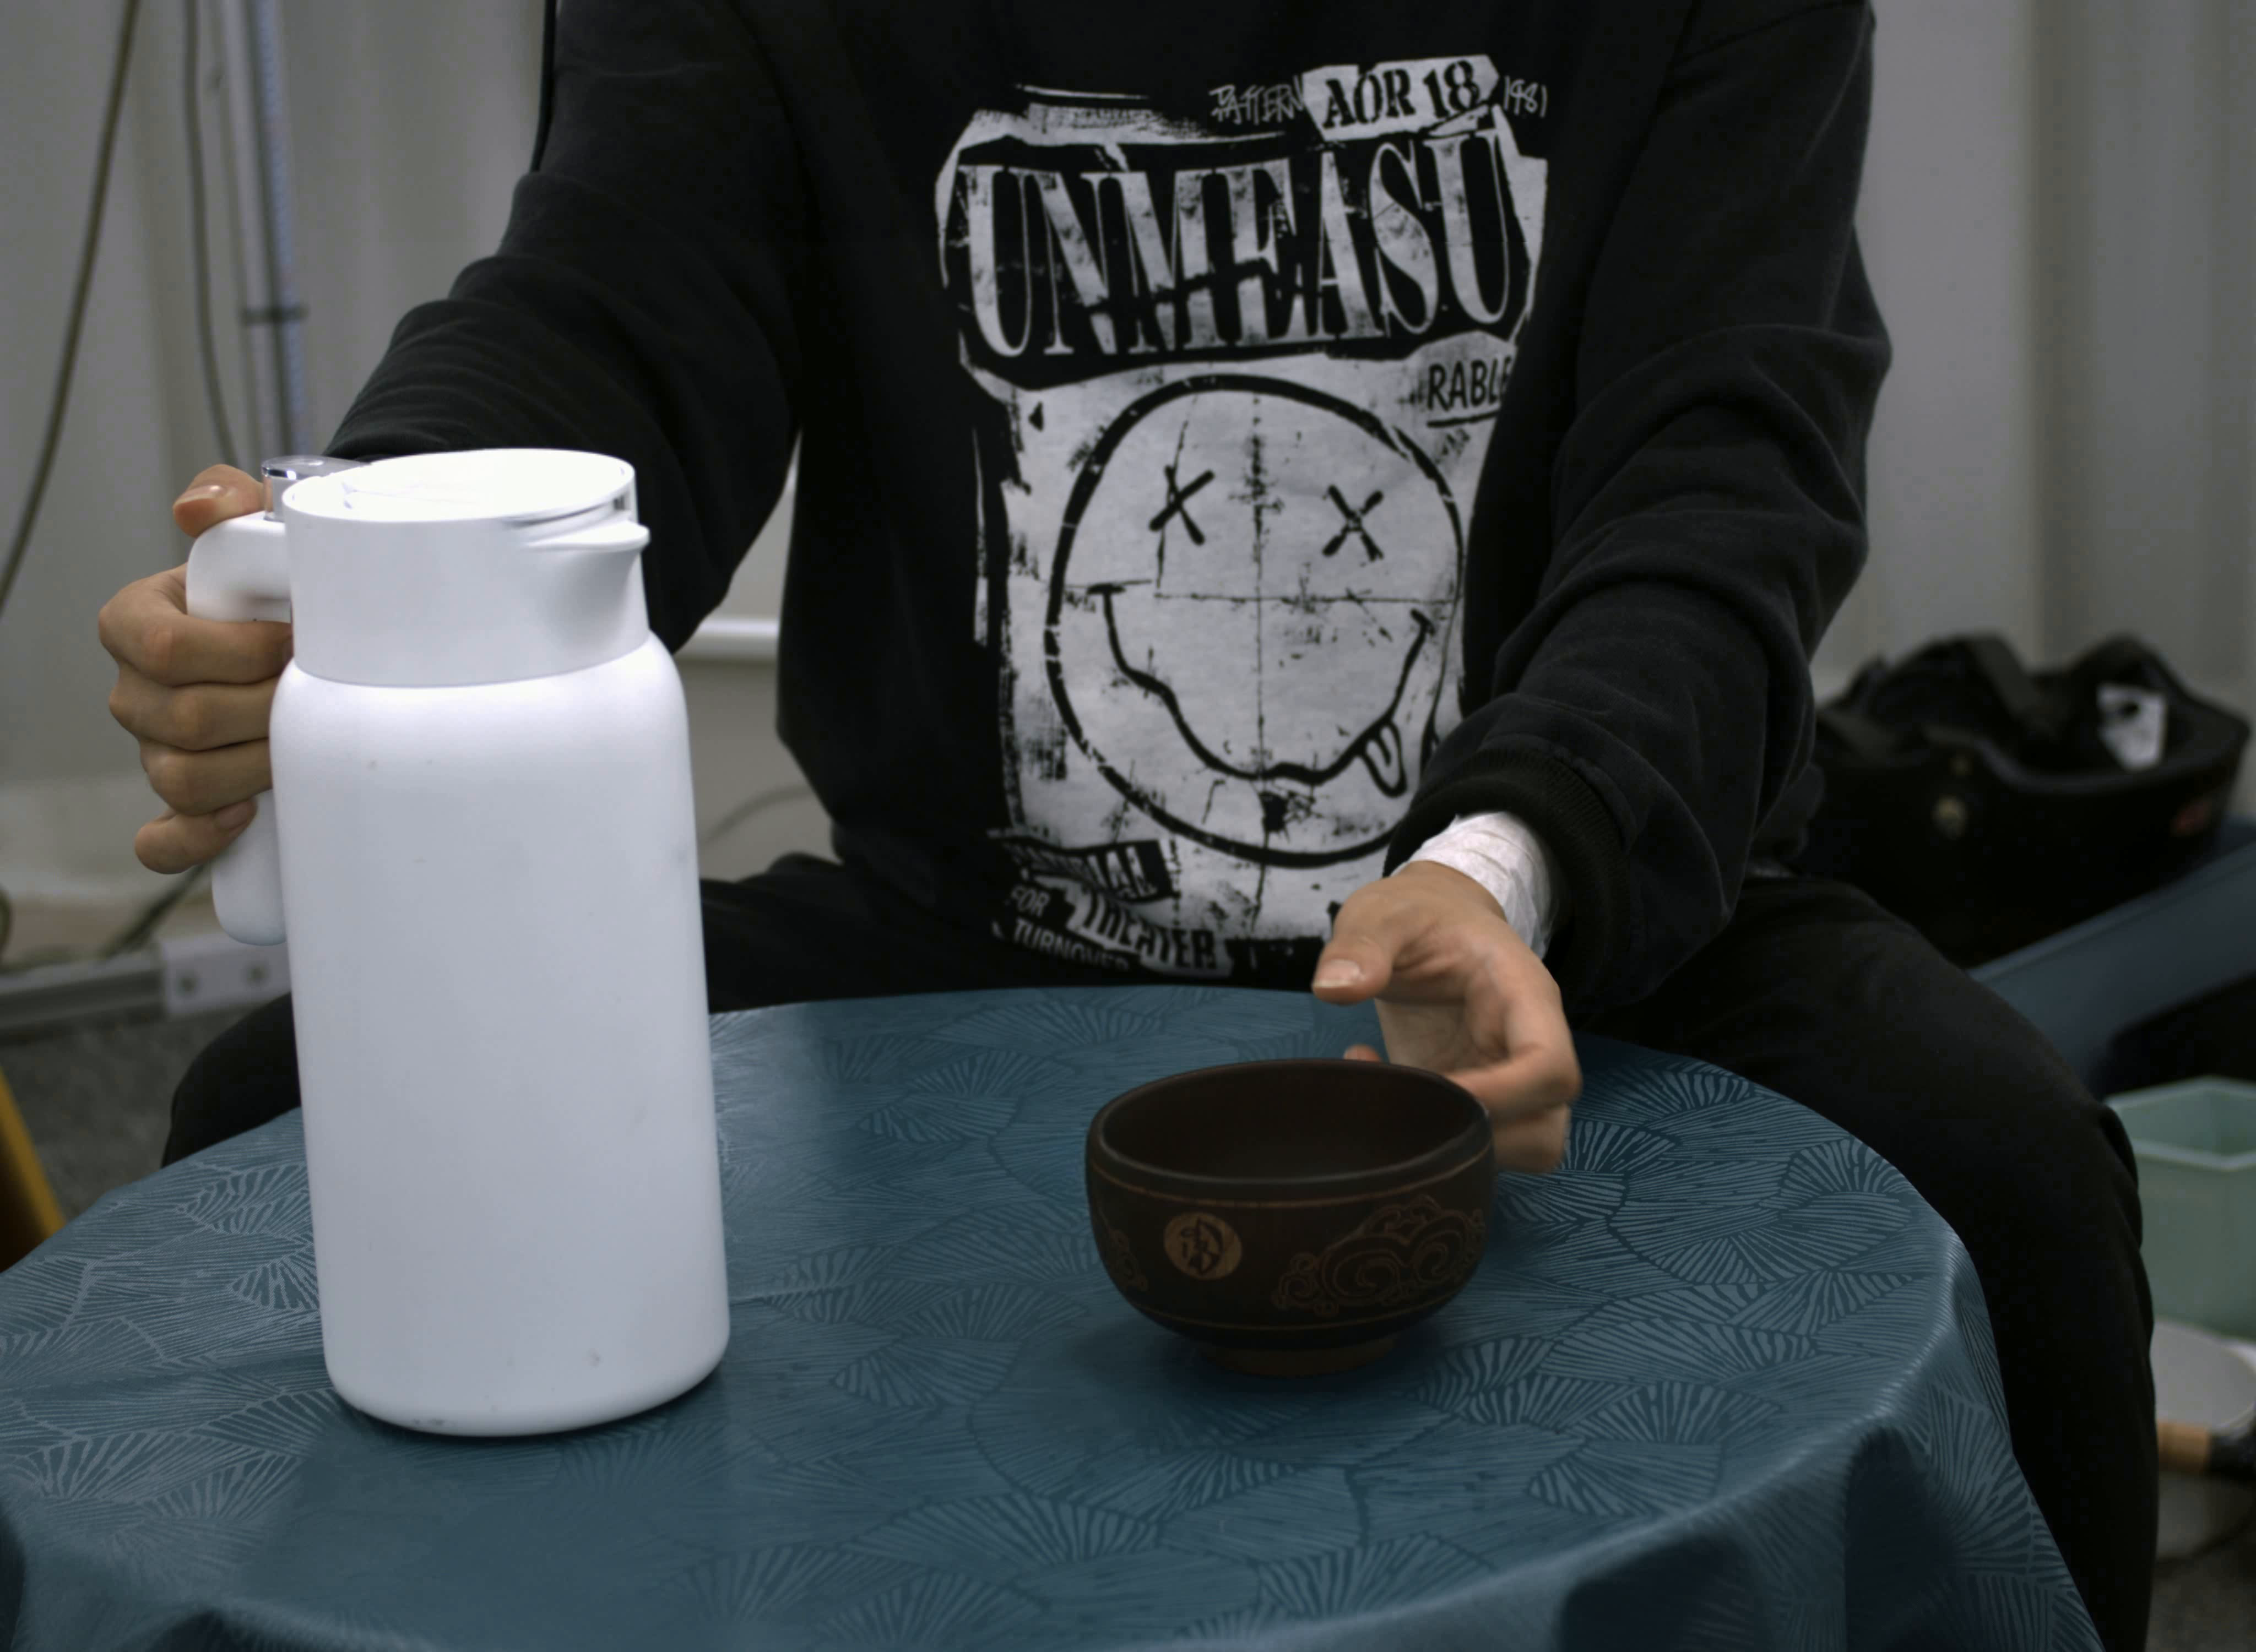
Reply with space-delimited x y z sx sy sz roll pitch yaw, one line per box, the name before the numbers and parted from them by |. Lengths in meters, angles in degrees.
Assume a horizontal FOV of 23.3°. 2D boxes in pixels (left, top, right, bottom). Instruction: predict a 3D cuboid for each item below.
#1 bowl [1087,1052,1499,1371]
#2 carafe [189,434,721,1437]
bowl | 0.048 0.114 1.565 0.117 0.069 0.119 -3 14 1
carafe | -0.194 0.029 1.559 0.173 0.268 0.124 8 19 37
